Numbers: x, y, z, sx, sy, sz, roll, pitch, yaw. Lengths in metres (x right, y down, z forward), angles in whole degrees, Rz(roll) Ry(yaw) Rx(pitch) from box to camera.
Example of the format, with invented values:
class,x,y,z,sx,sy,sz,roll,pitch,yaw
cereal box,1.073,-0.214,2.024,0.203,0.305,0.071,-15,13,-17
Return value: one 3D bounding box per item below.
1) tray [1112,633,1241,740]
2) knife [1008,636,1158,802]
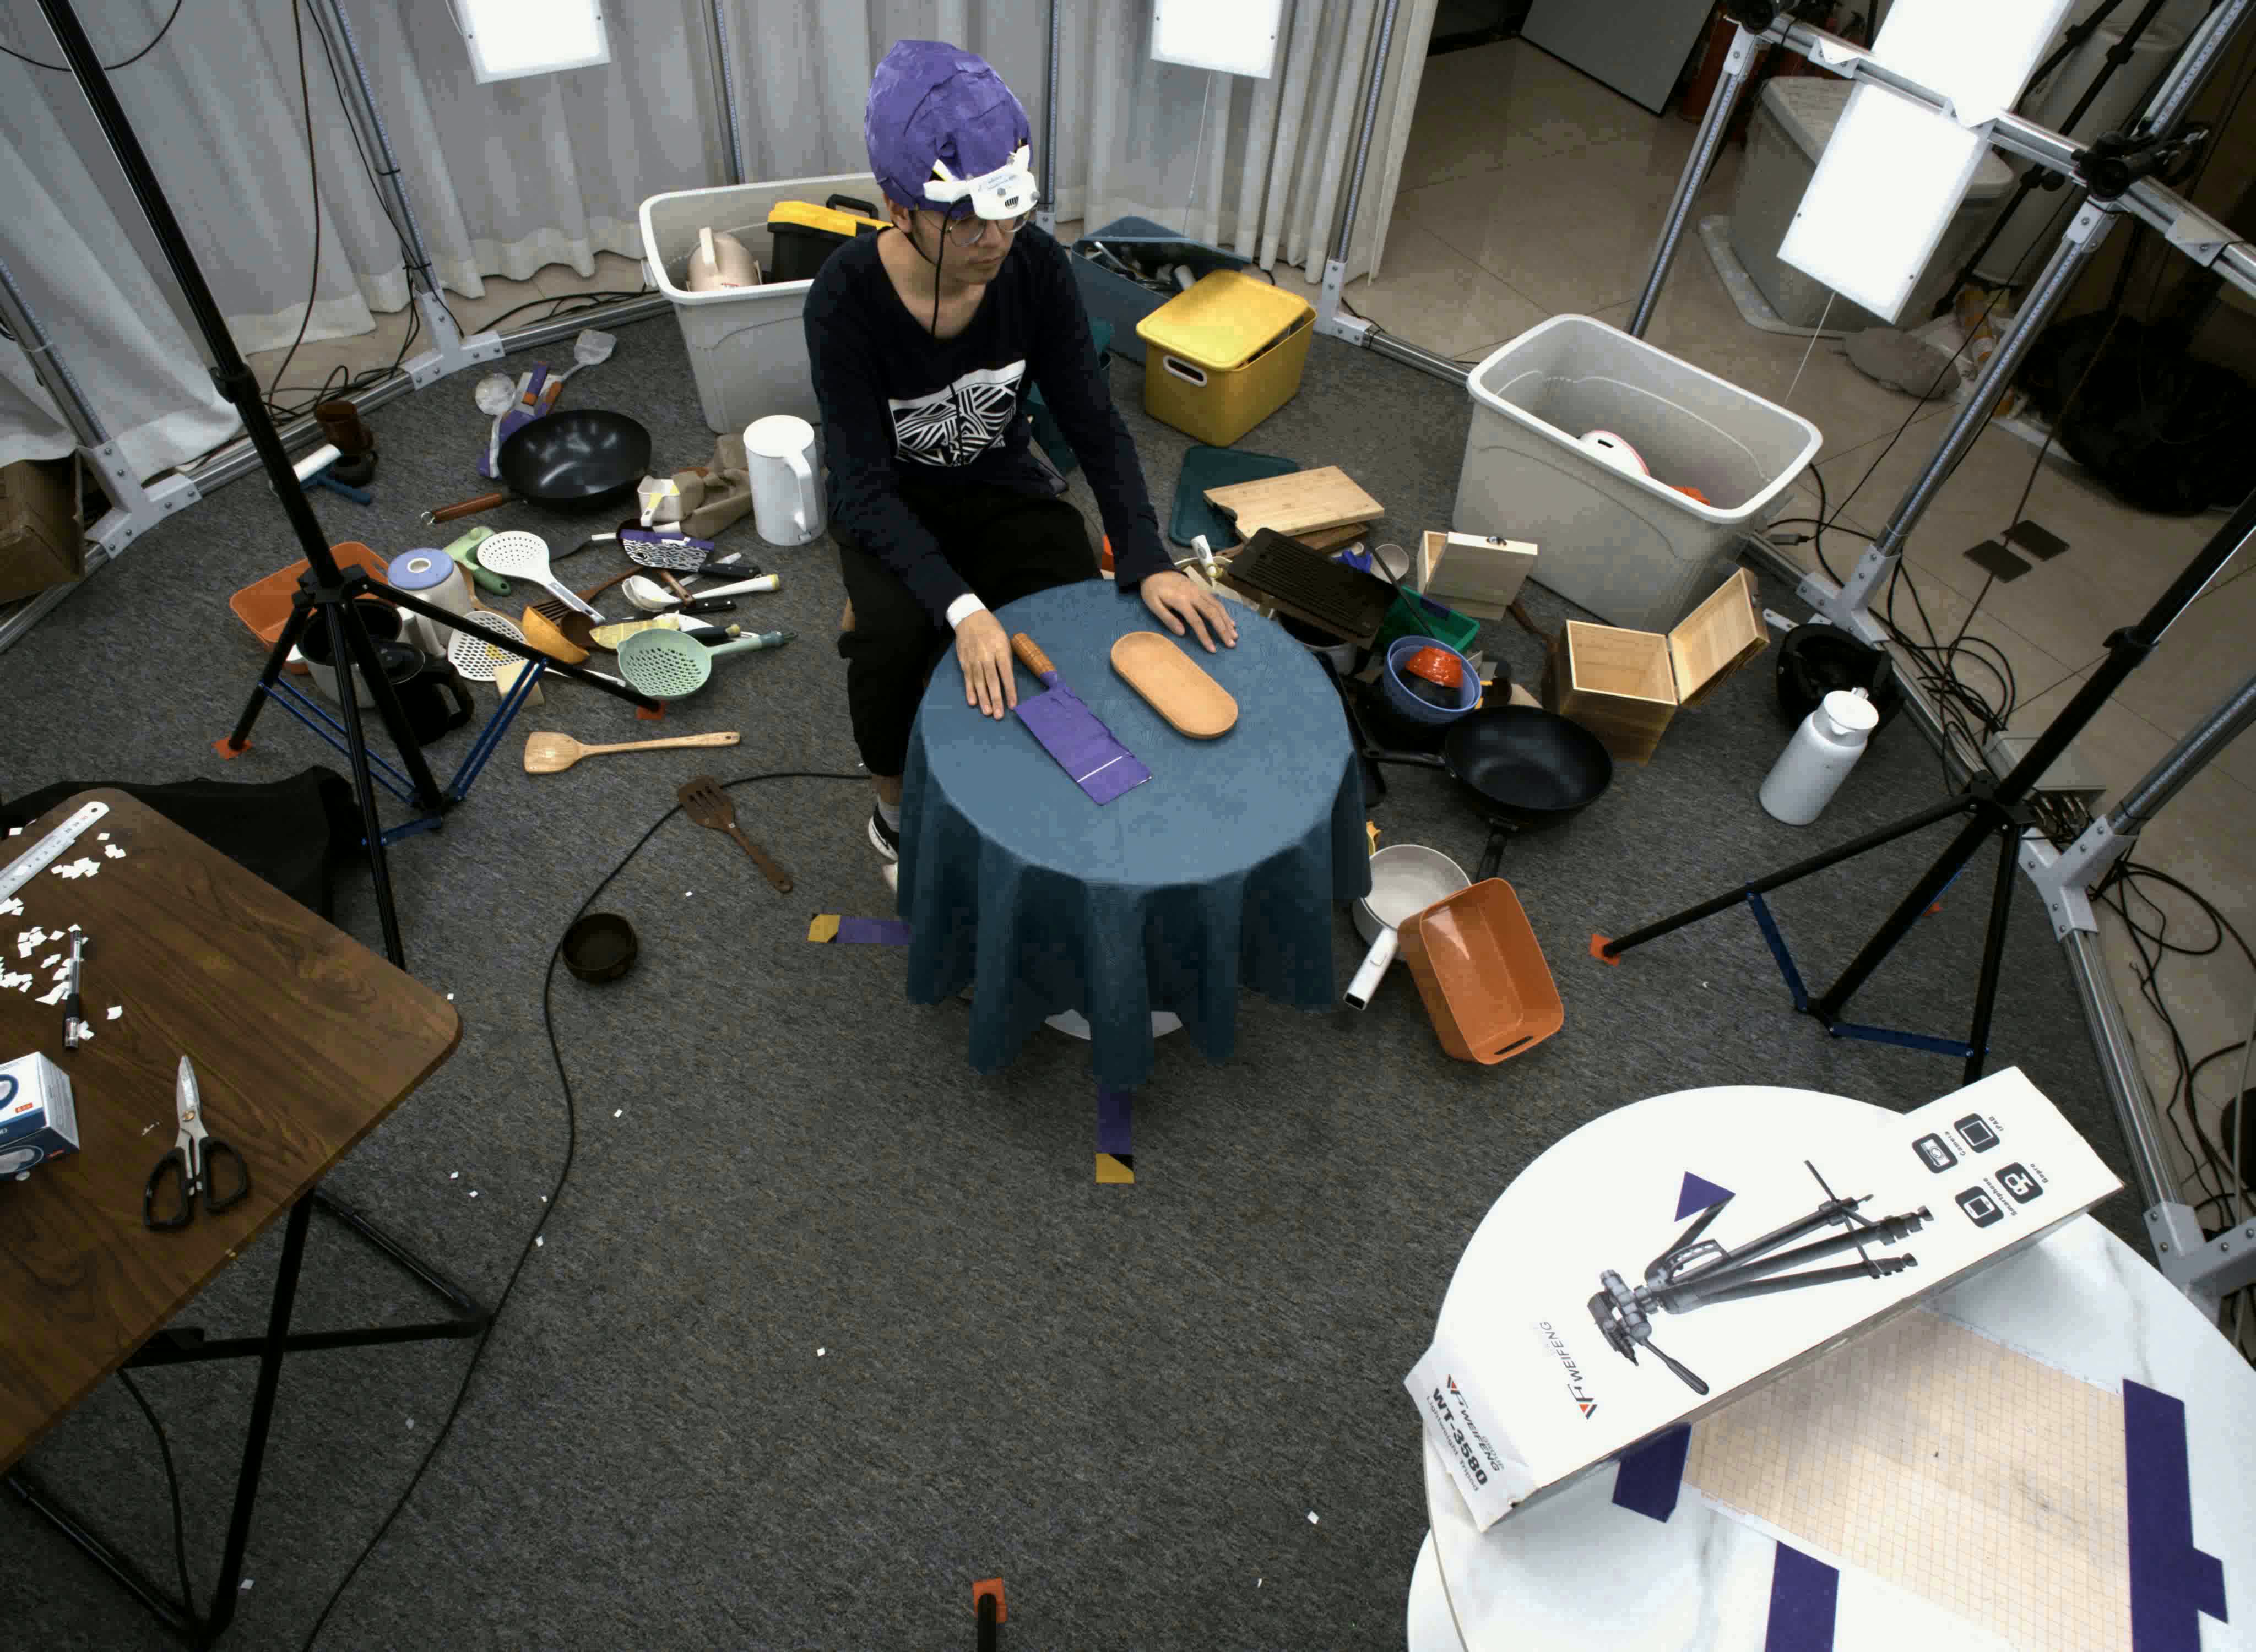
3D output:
class,x,y,z,sx,sy,sz,roll,pitch,yaw
tray,0.068,-0.201,1.836,0.102,0.020,0.235,-29,58,-25
knife,-0.092,-0.153,1.776,0.104,0.031,0.321,-28,57,-25
